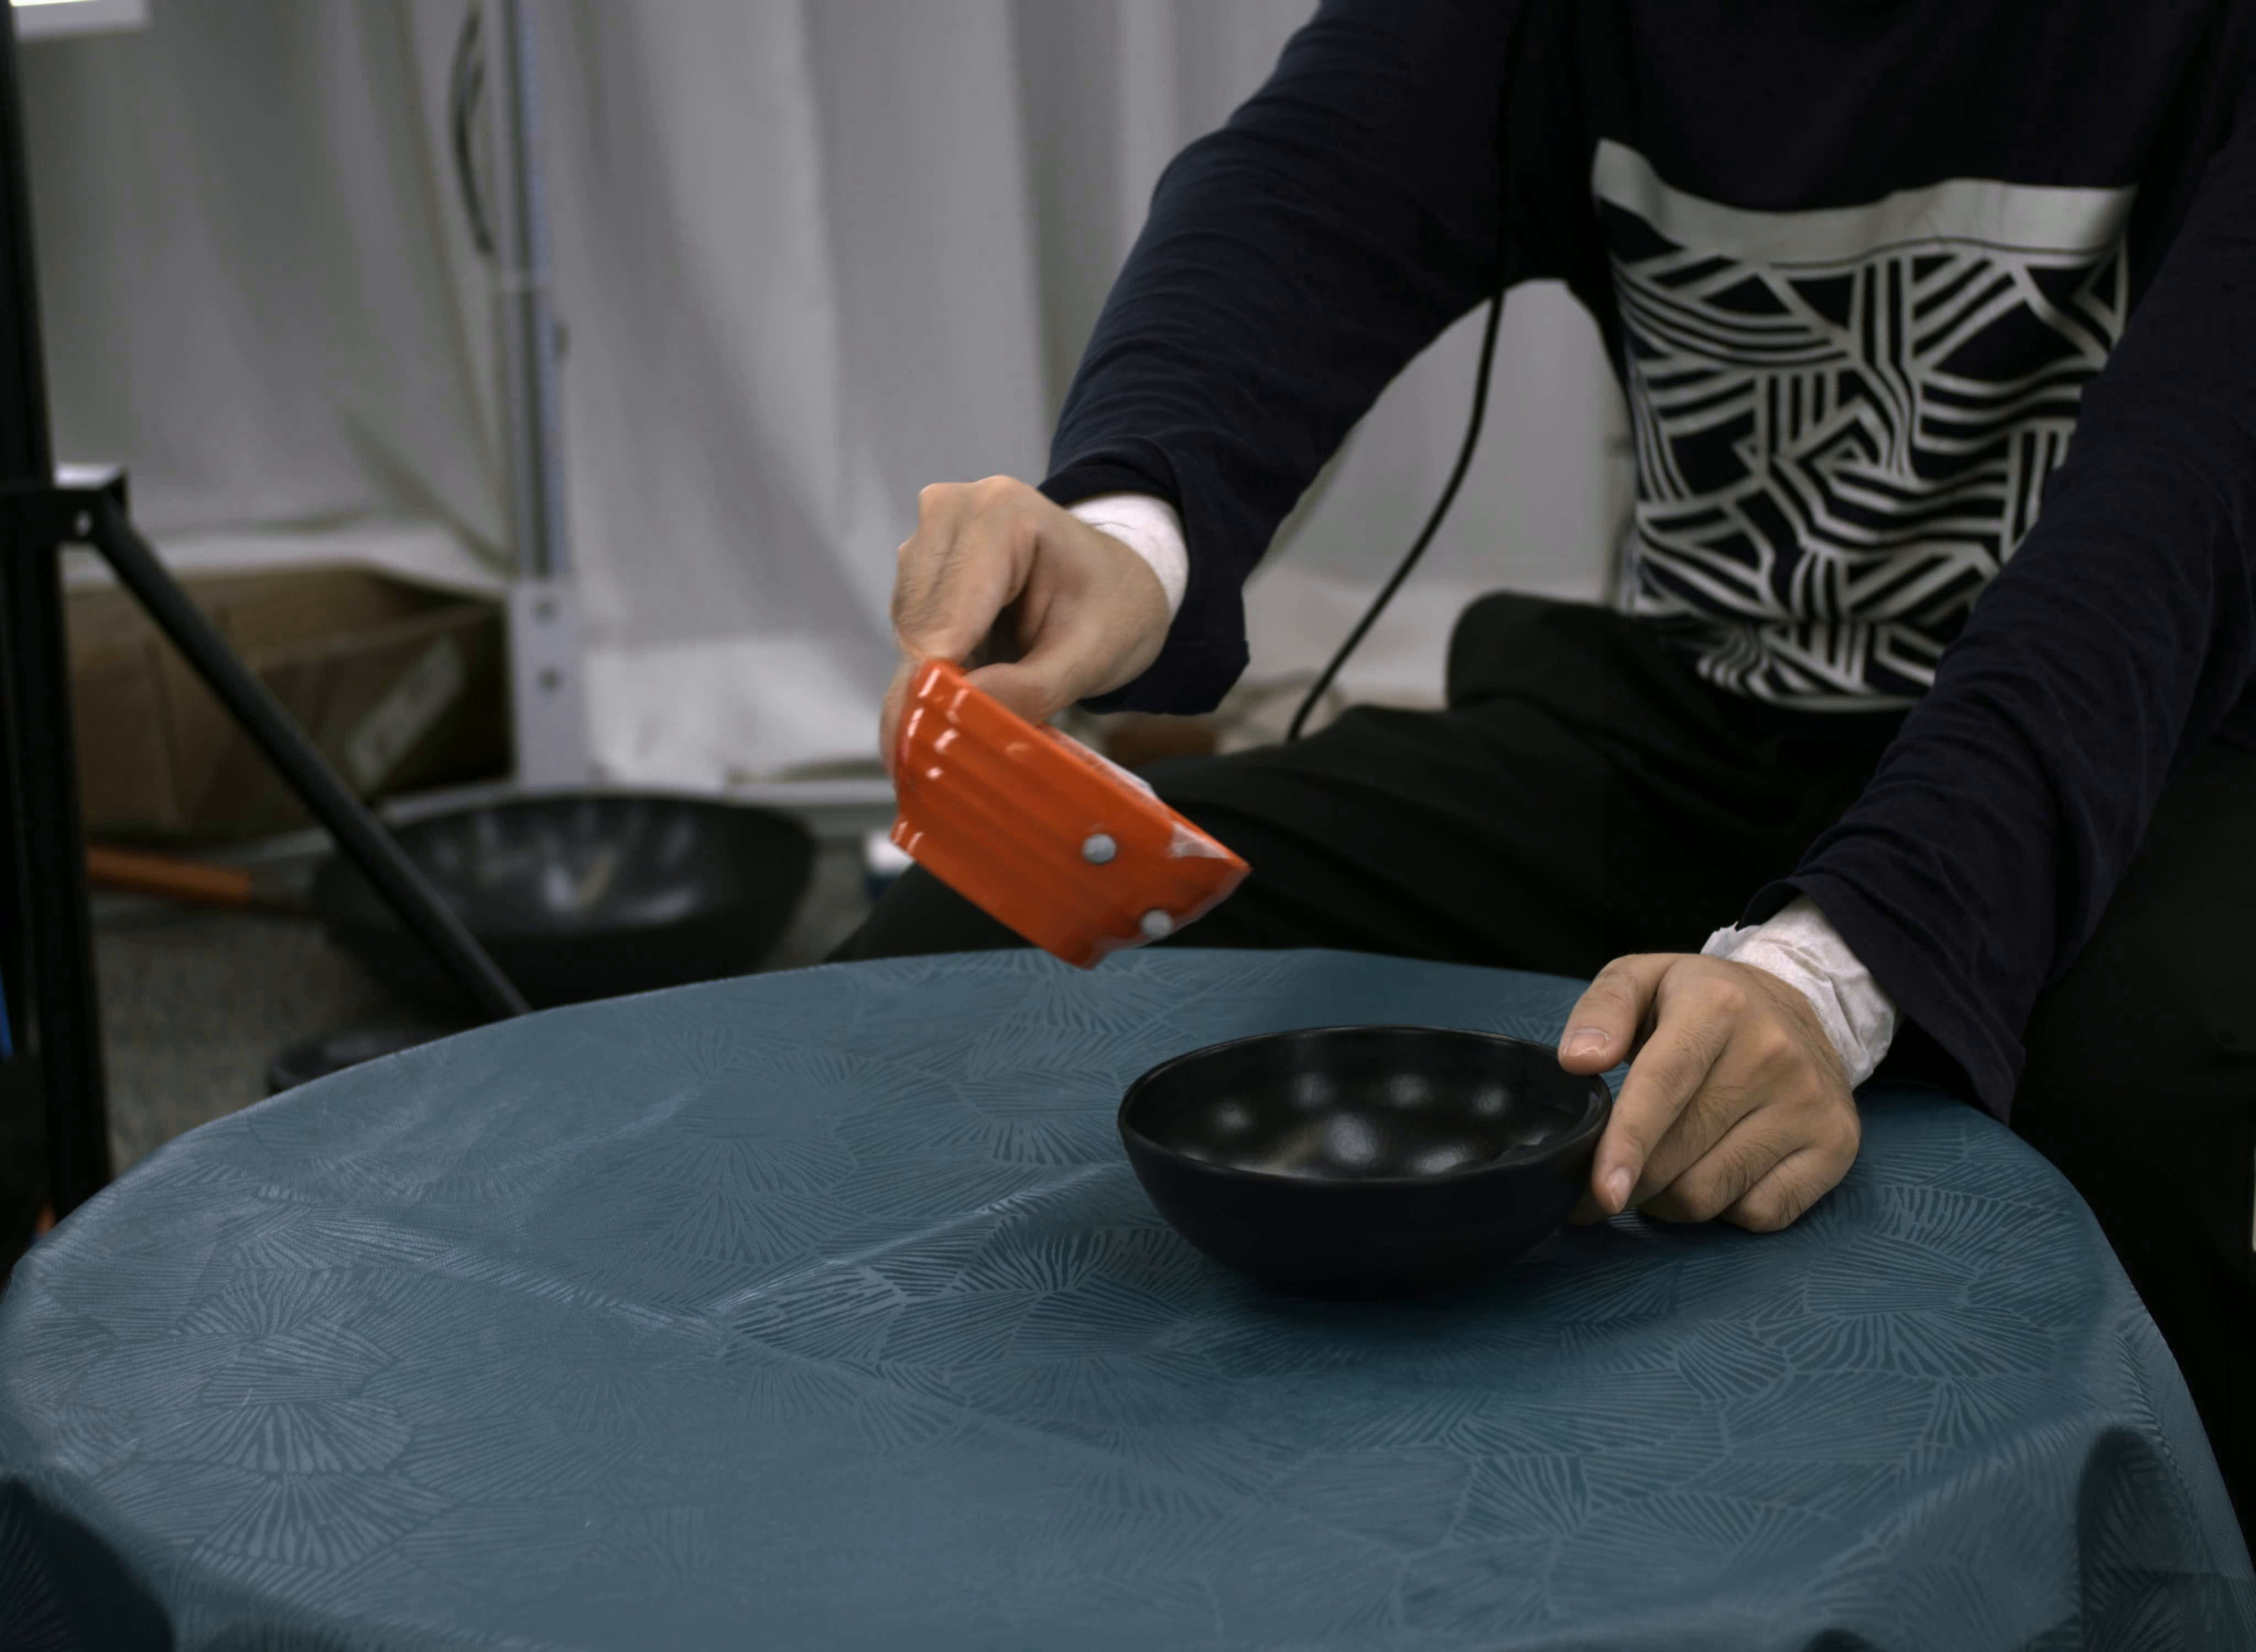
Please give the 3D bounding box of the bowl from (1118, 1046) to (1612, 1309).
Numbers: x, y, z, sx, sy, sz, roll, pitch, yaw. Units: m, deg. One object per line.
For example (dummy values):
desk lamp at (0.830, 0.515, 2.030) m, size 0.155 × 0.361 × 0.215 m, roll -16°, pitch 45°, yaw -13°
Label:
bowl at (0.067, 0.103, 1.491) m, size 0.139 × 0.050 × 0.140 m, roll -1°, pitch 12°, yaw -1°

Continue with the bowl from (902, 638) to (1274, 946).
bowl at (-0.019, -0.004, 1.492) m, size 0.118 × 0.051 × 0.119 m, roll 28°, pitch 4°, yaw -4°
